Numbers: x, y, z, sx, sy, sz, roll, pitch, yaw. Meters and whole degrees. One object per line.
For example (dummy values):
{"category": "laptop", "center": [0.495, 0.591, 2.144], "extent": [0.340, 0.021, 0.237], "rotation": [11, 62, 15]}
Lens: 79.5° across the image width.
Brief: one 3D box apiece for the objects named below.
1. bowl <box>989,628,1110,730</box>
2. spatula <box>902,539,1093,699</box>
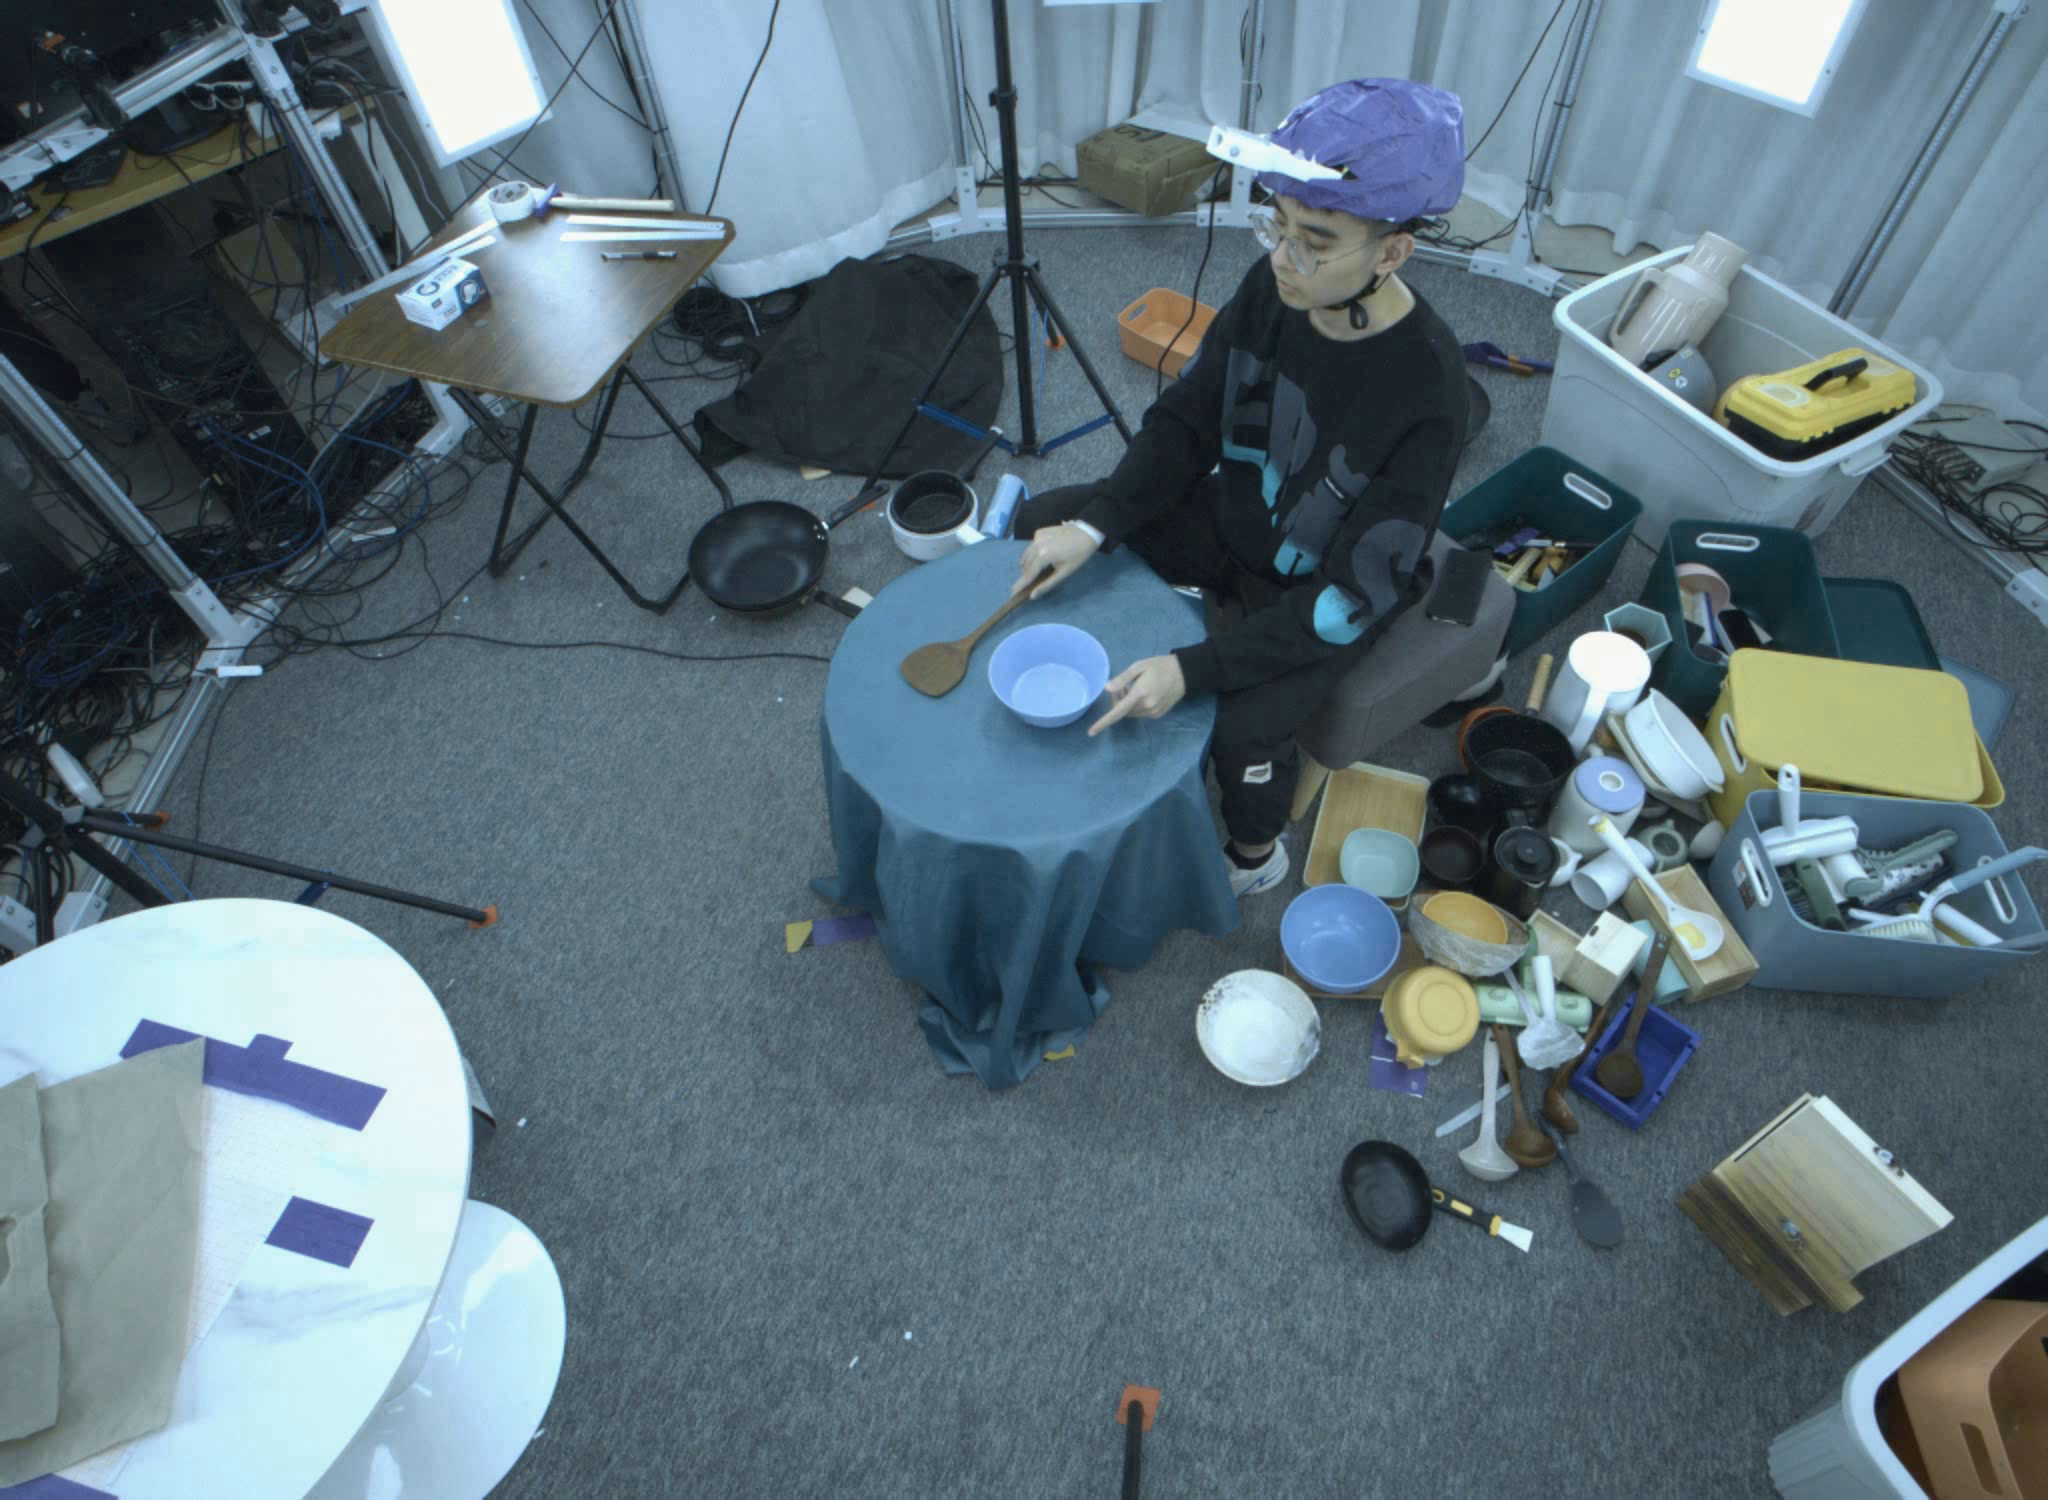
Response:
{"category": "bowl", "center": [0.038, -0.095, 1.821], "extent": [0.176, 0.071, 0.174], "rotation": [0, 55, 1]}
{"category": "spatula", "center": [-0.030, -0.217, 1.925], "extent": [0.388, 0.016, 0.094], "rotation": [-42, 67, -18]}
